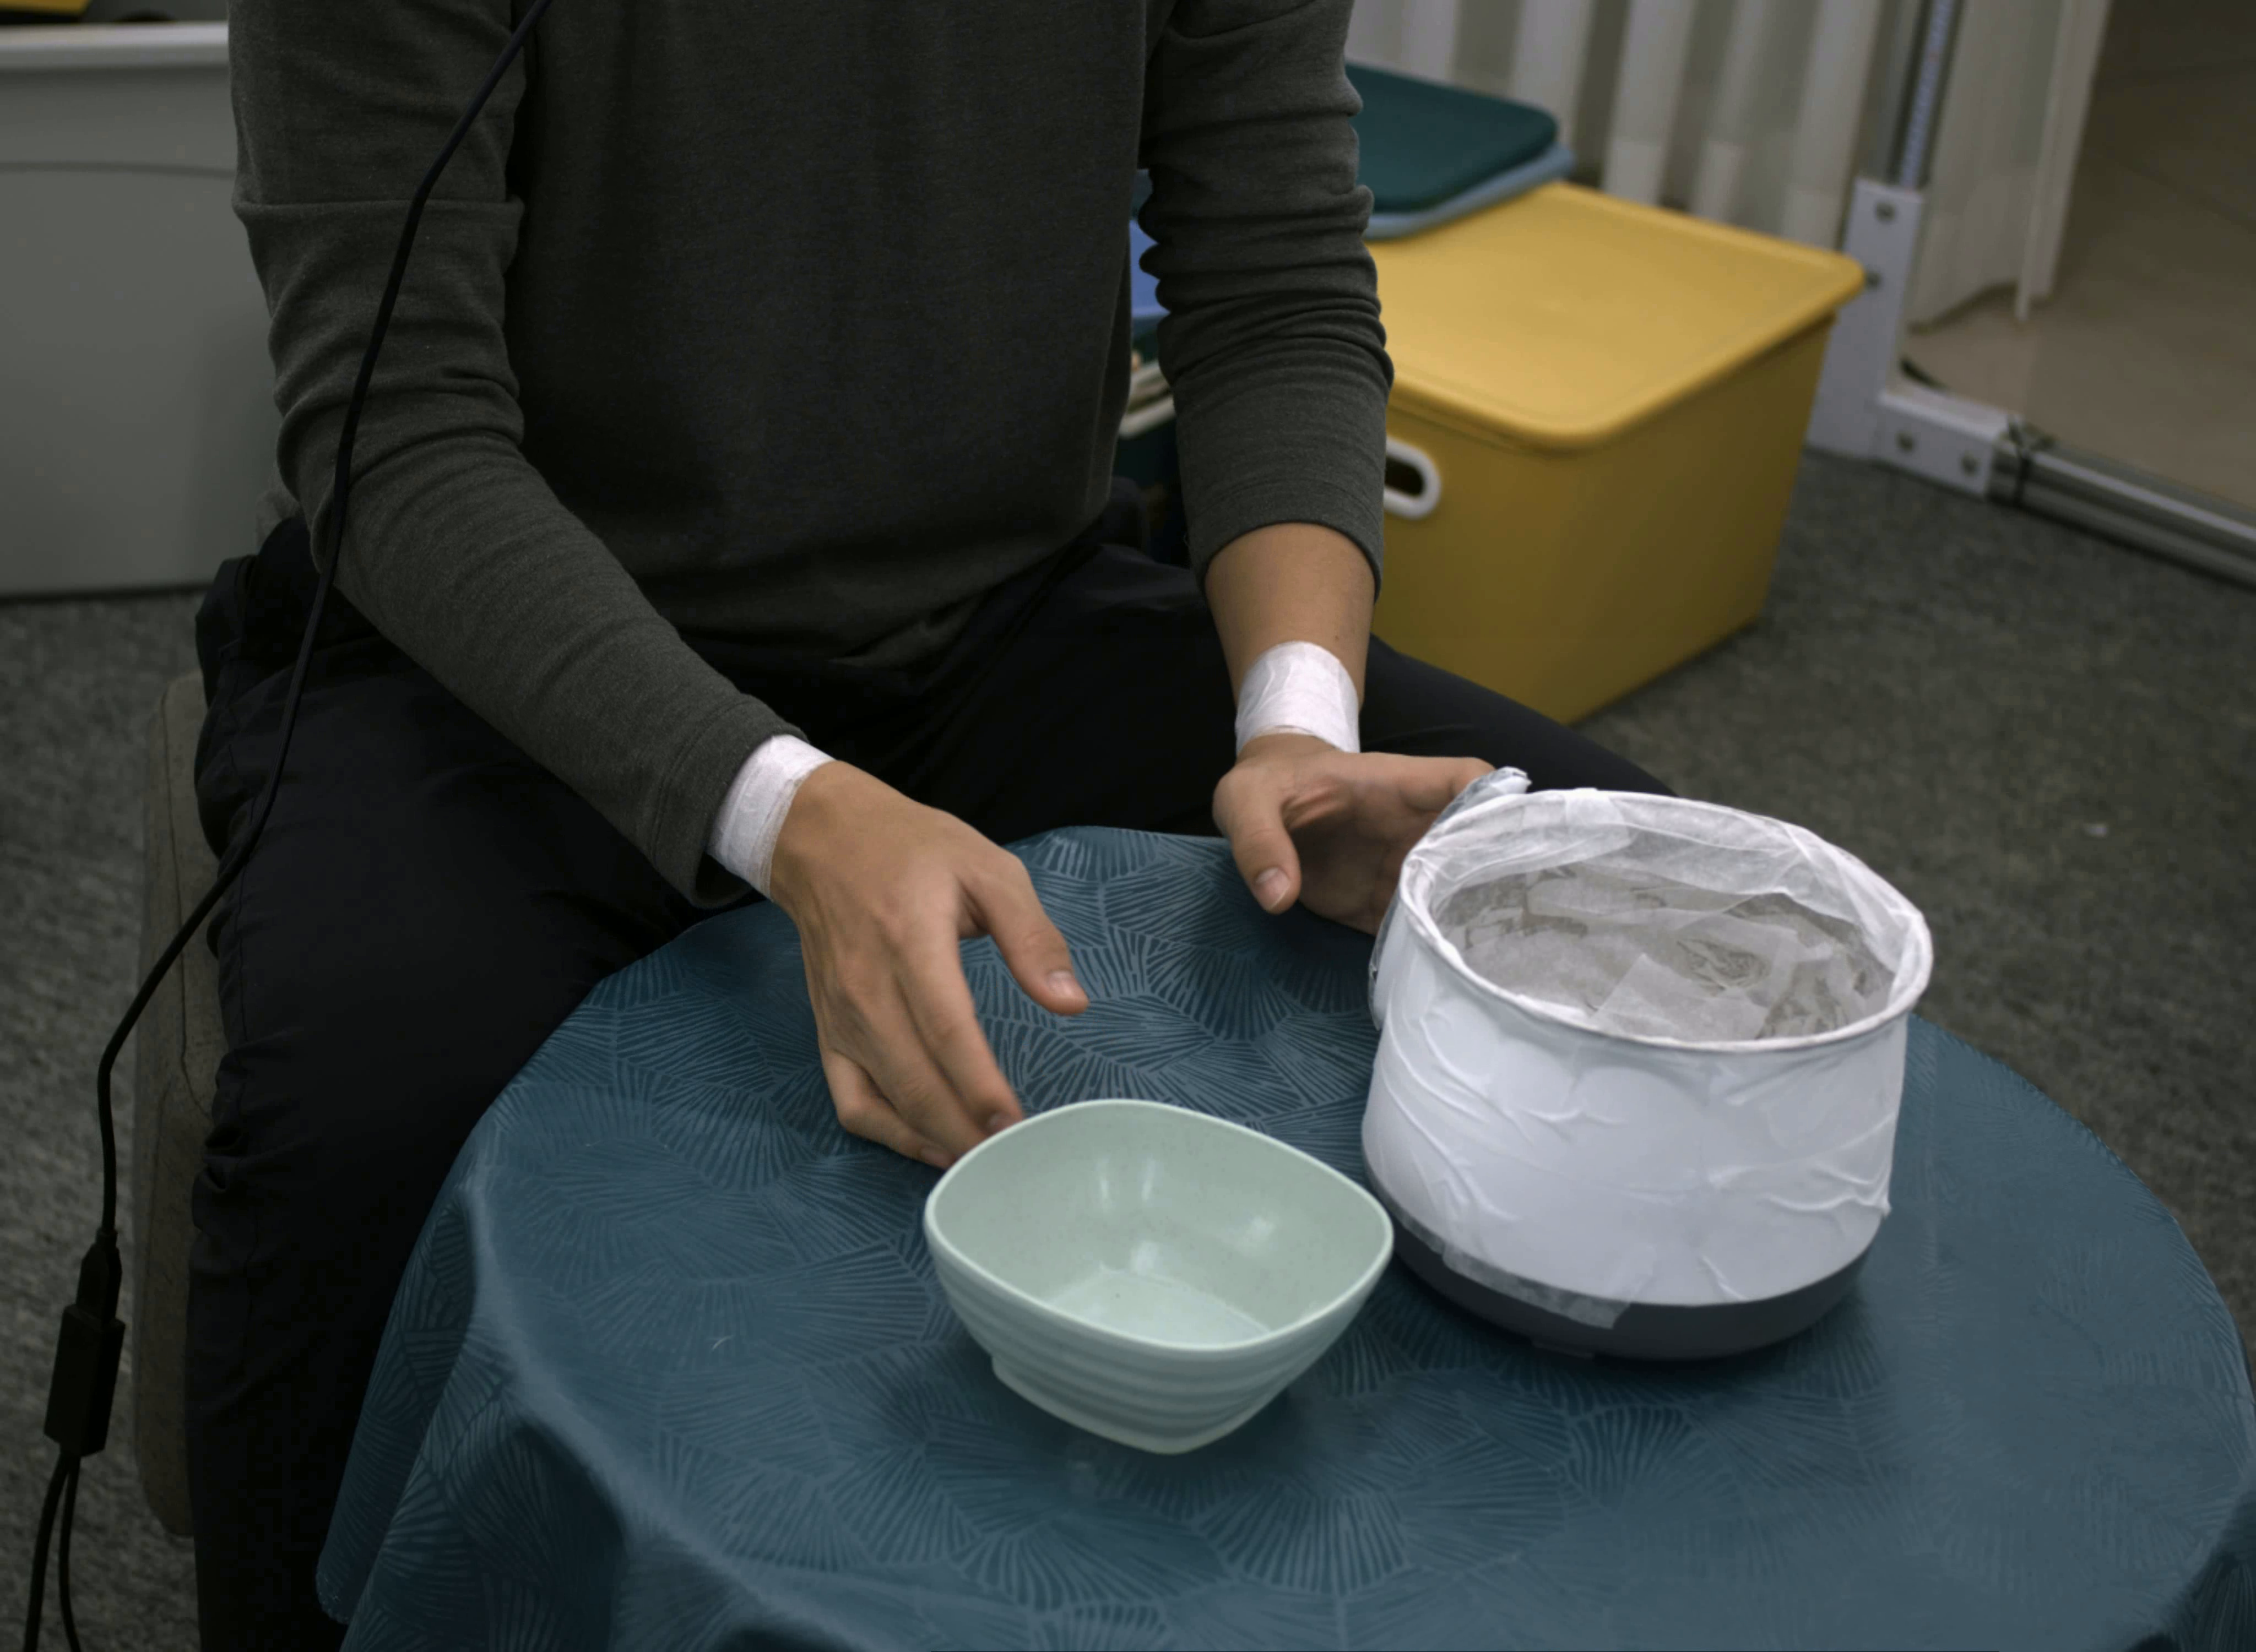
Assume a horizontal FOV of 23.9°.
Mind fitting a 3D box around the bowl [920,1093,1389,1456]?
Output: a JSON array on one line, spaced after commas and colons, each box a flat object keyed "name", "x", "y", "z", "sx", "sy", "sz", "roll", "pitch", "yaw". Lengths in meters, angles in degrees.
[{"name": "bowl", "x": 0.006, "y": 0.149, "z": 1.694, "sx": 0.151, "sy": 0.058, "sz": 0.152, "roll": 6, "pitch": 28, "yaw": -4}]

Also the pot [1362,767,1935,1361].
[{"name": "pot", "x": 0.156, "y": 0.073, "z": 1.792, "sx": 0.177, "sy": 0.136, "sz": 0.236, "roll": -9, "pitch": 30, "yaw": -28}]
